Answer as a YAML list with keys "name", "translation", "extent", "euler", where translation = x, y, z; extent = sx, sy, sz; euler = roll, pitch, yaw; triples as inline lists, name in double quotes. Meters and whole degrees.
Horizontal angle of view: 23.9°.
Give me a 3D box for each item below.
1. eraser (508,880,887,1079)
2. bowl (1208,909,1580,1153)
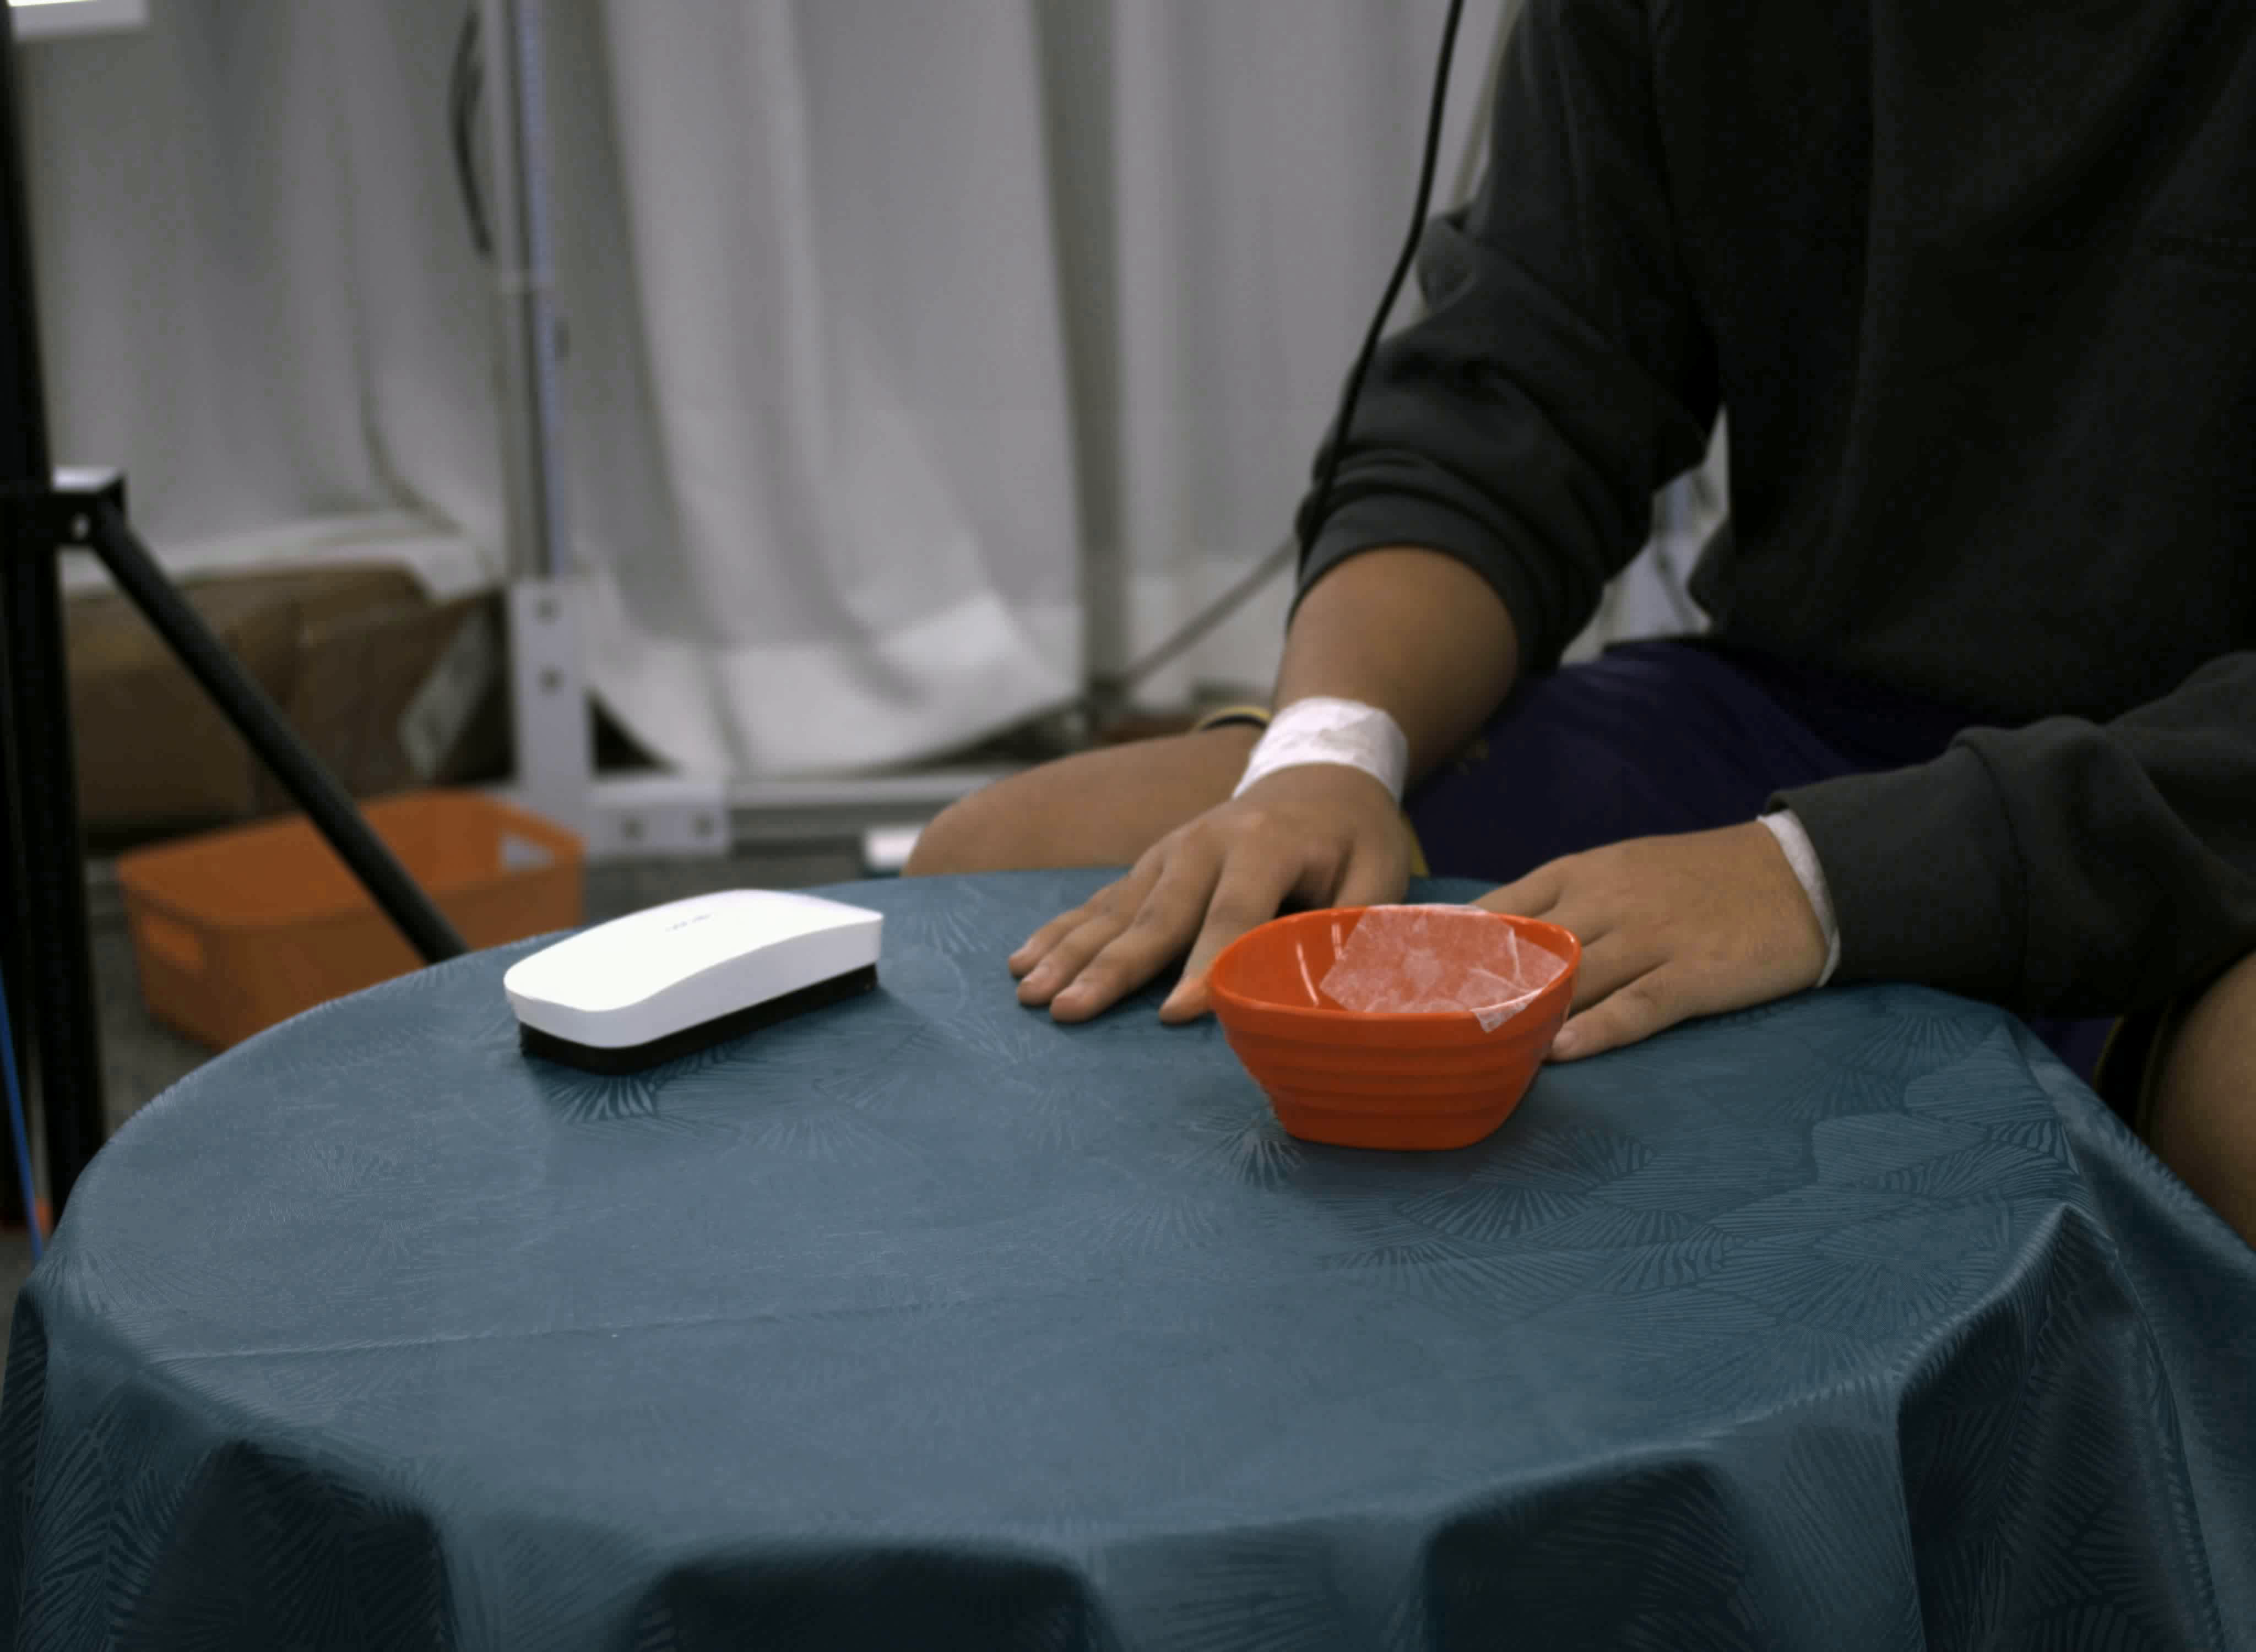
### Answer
- name: "eraser"
  translation: [-0.138, 0.047, 1.740]
  extent: [0.065, 0.034, 0.128]
  euler: [14, 24, 42]
- name: "bowl"
  translation: [0.082, 0.064, 1.609]
  extent: [0.118, 0.051, 0.119]
  euler: [-3, 15, 0]
